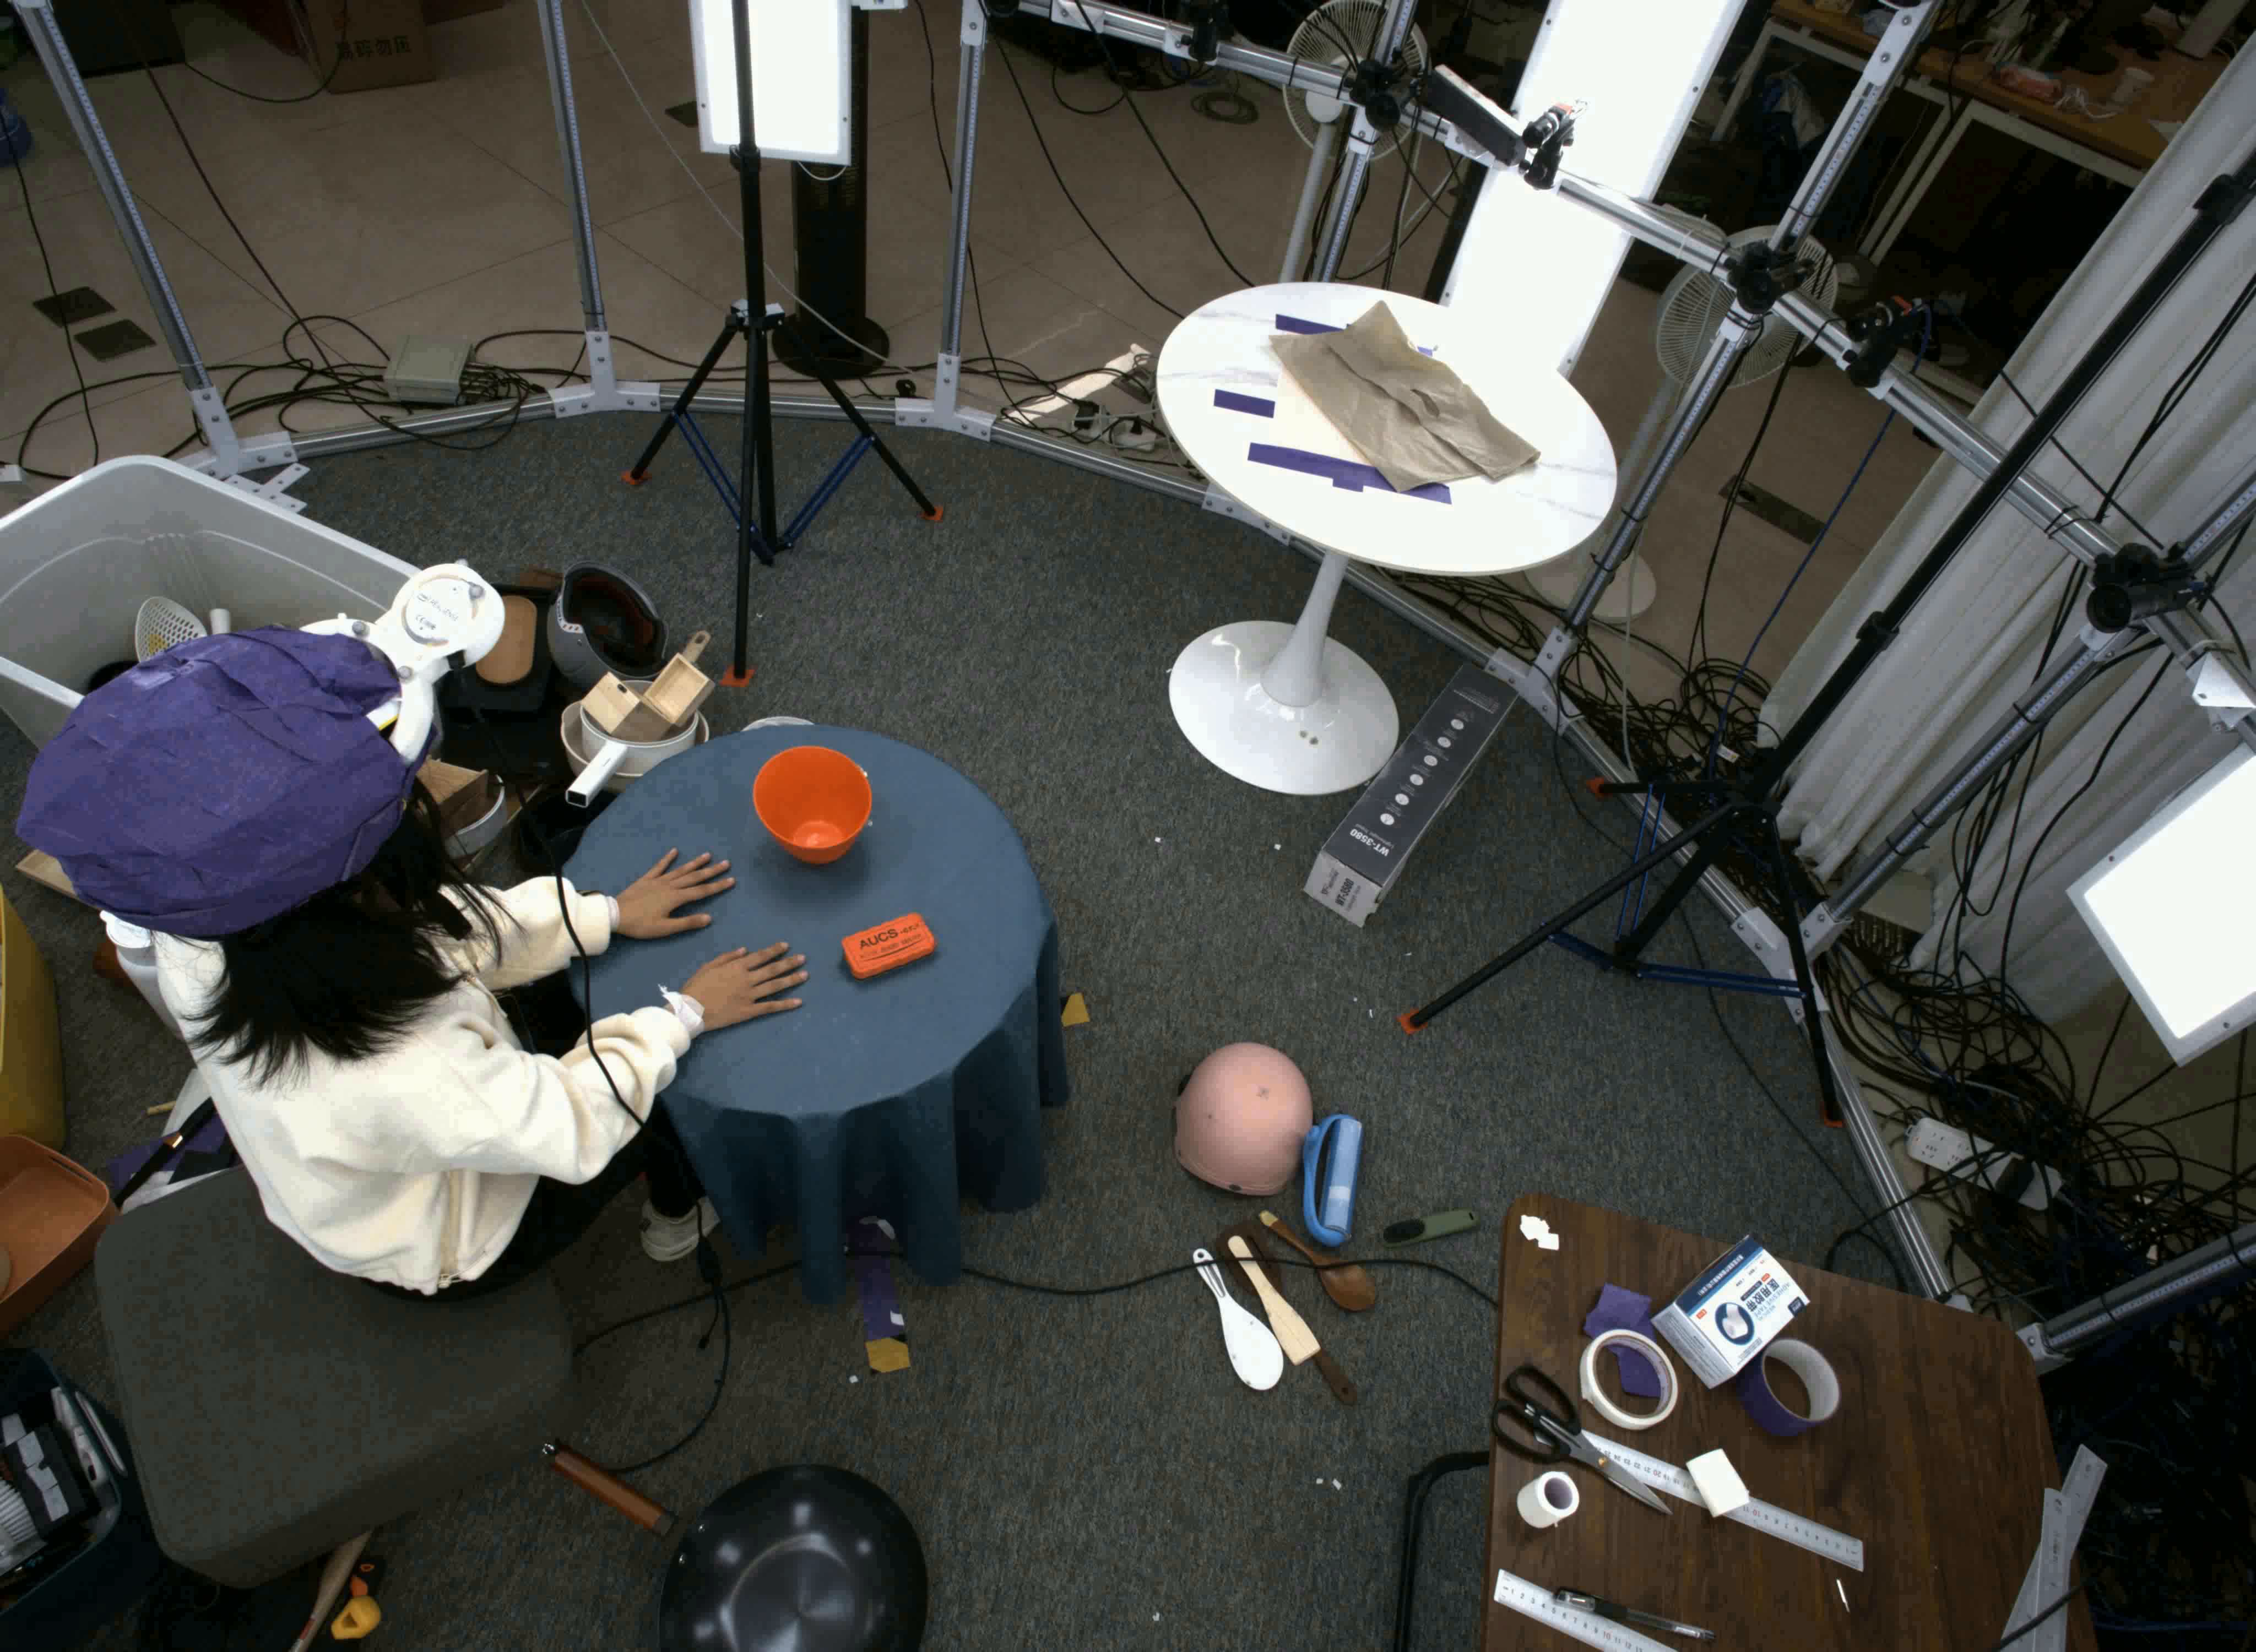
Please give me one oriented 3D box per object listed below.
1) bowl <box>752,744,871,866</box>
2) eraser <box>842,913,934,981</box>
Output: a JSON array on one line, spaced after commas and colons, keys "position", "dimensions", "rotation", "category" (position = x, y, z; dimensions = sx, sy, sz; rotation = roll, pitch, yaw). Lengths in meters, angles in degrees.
[{"position": [-0.406, -0.016, 1.670], "dimensions": [0.148, 0.107, 0.145], "rotation": [8, 51, -9], "category": "bowl"}, {"position": [-0.300, 0.149, 1.625], "dimensions": [0.108, 0.023, 0.057], "rotation": [-20, 62, -27], "category": "eraser"}]
